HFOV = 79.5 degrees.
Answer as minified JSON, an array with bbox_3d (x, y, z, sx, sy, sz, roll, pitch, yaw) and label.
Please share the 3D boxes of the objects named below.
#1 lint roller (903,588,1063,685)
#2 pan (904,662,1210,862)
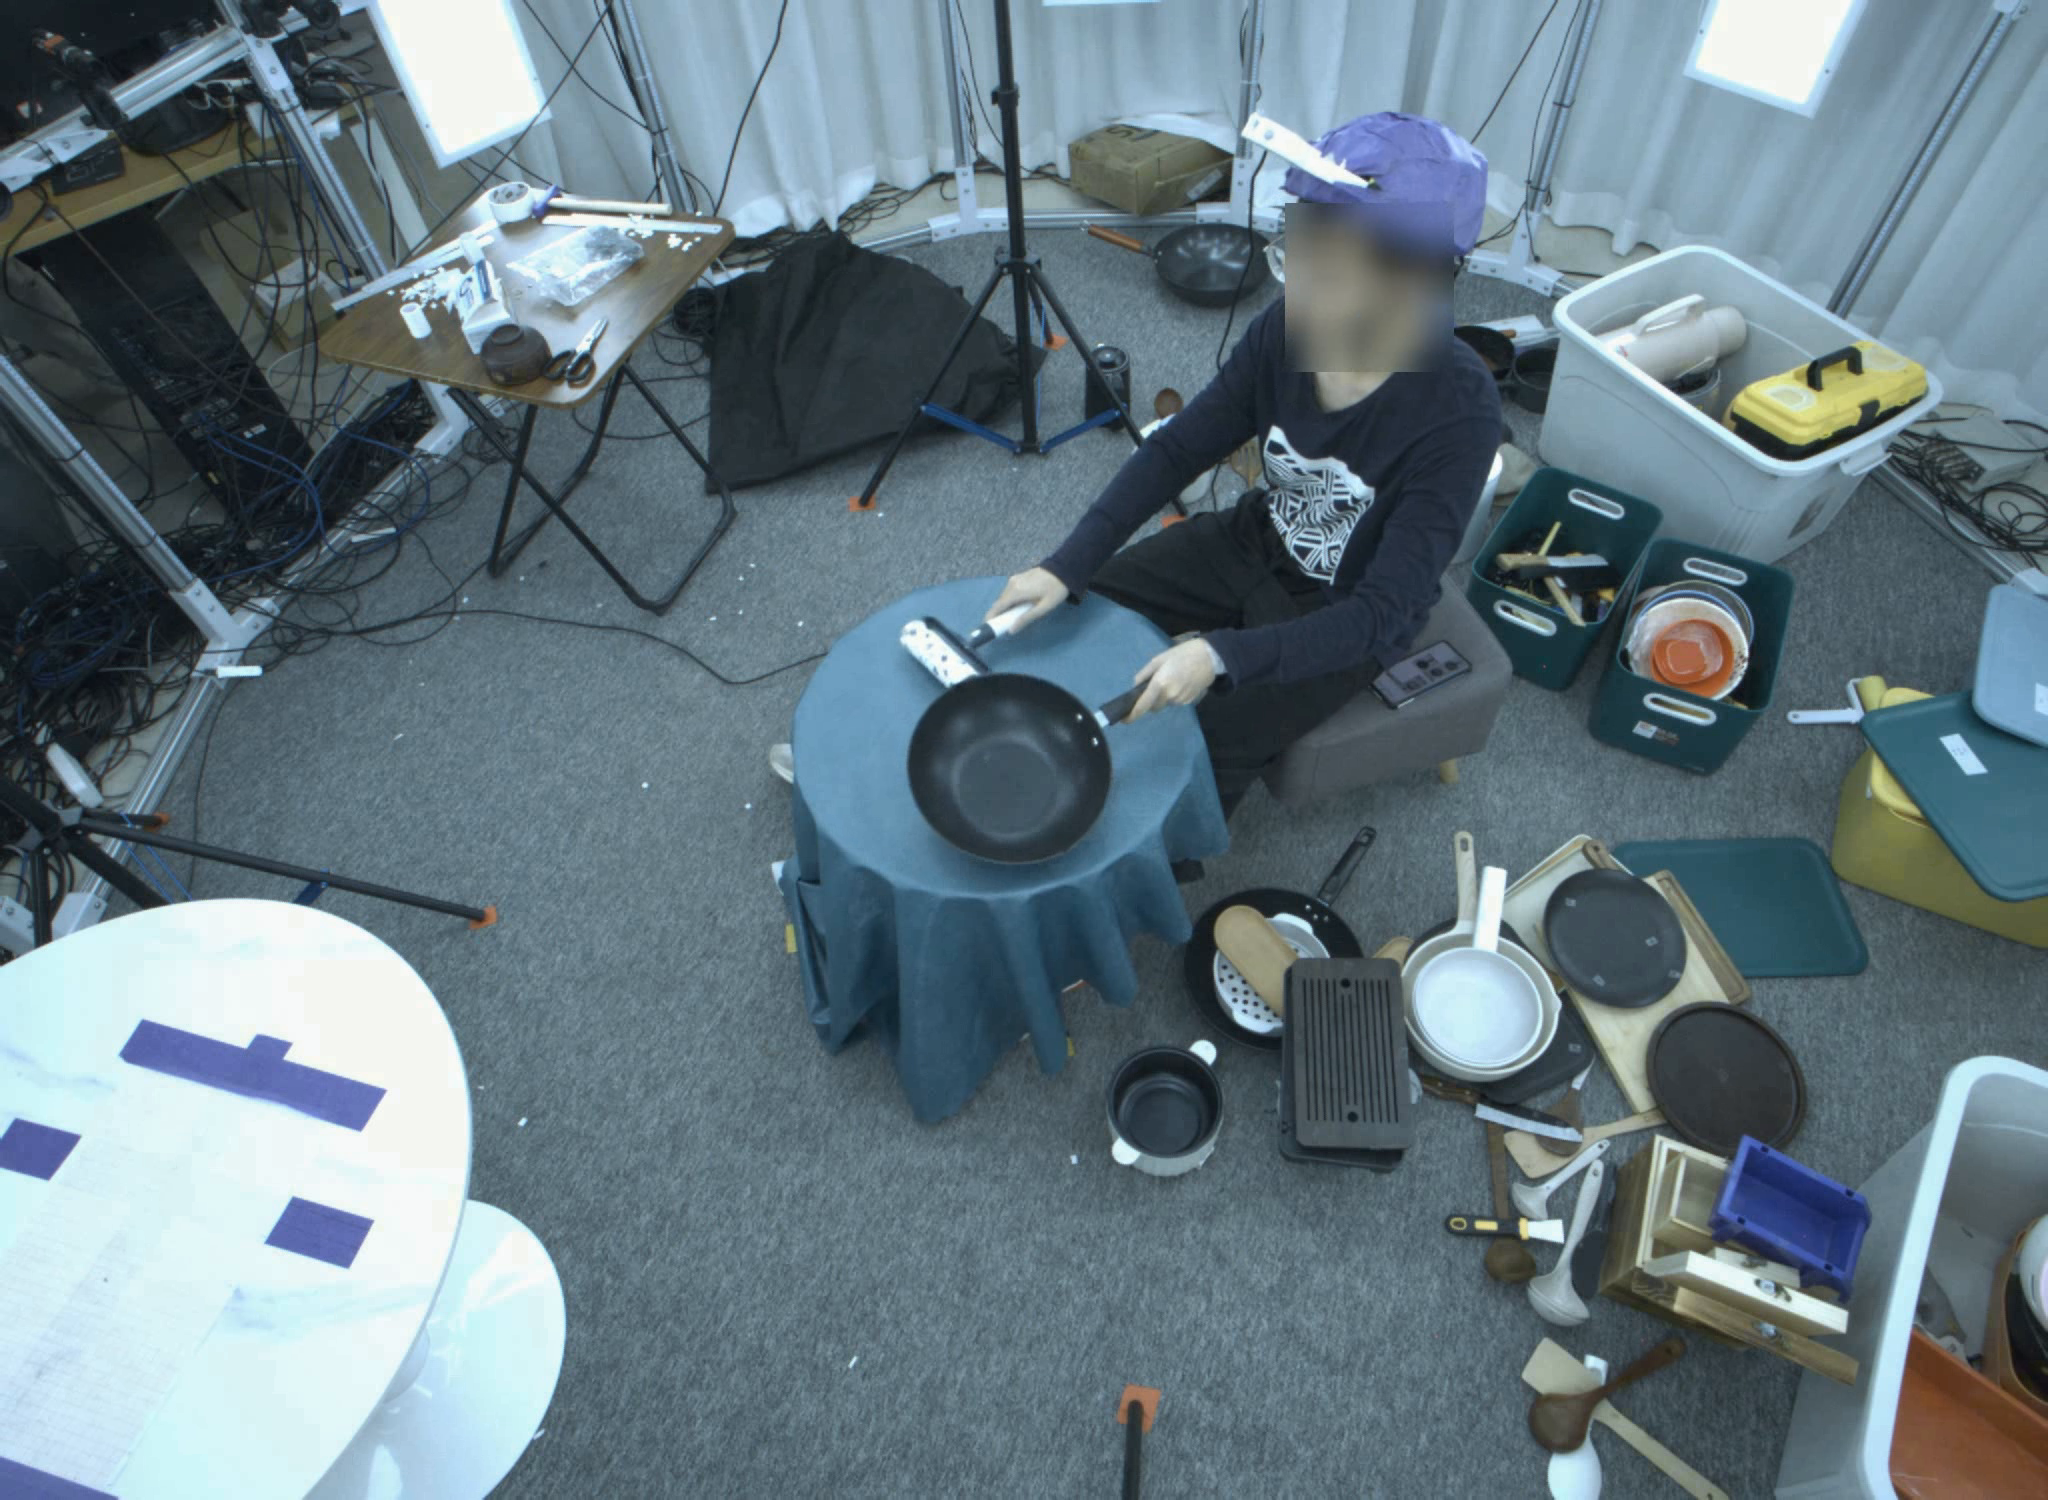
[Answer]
[{"bbox_3d":[-0.044,-0.192,1.877,0.249,0.051,0.172,-33,50,-20],"label":"lint roller"},{"bbox_3d":[0.053,-0.010,1.720,0.467,0.087,0.285,-27,74,-17],"label":"pan"}]
